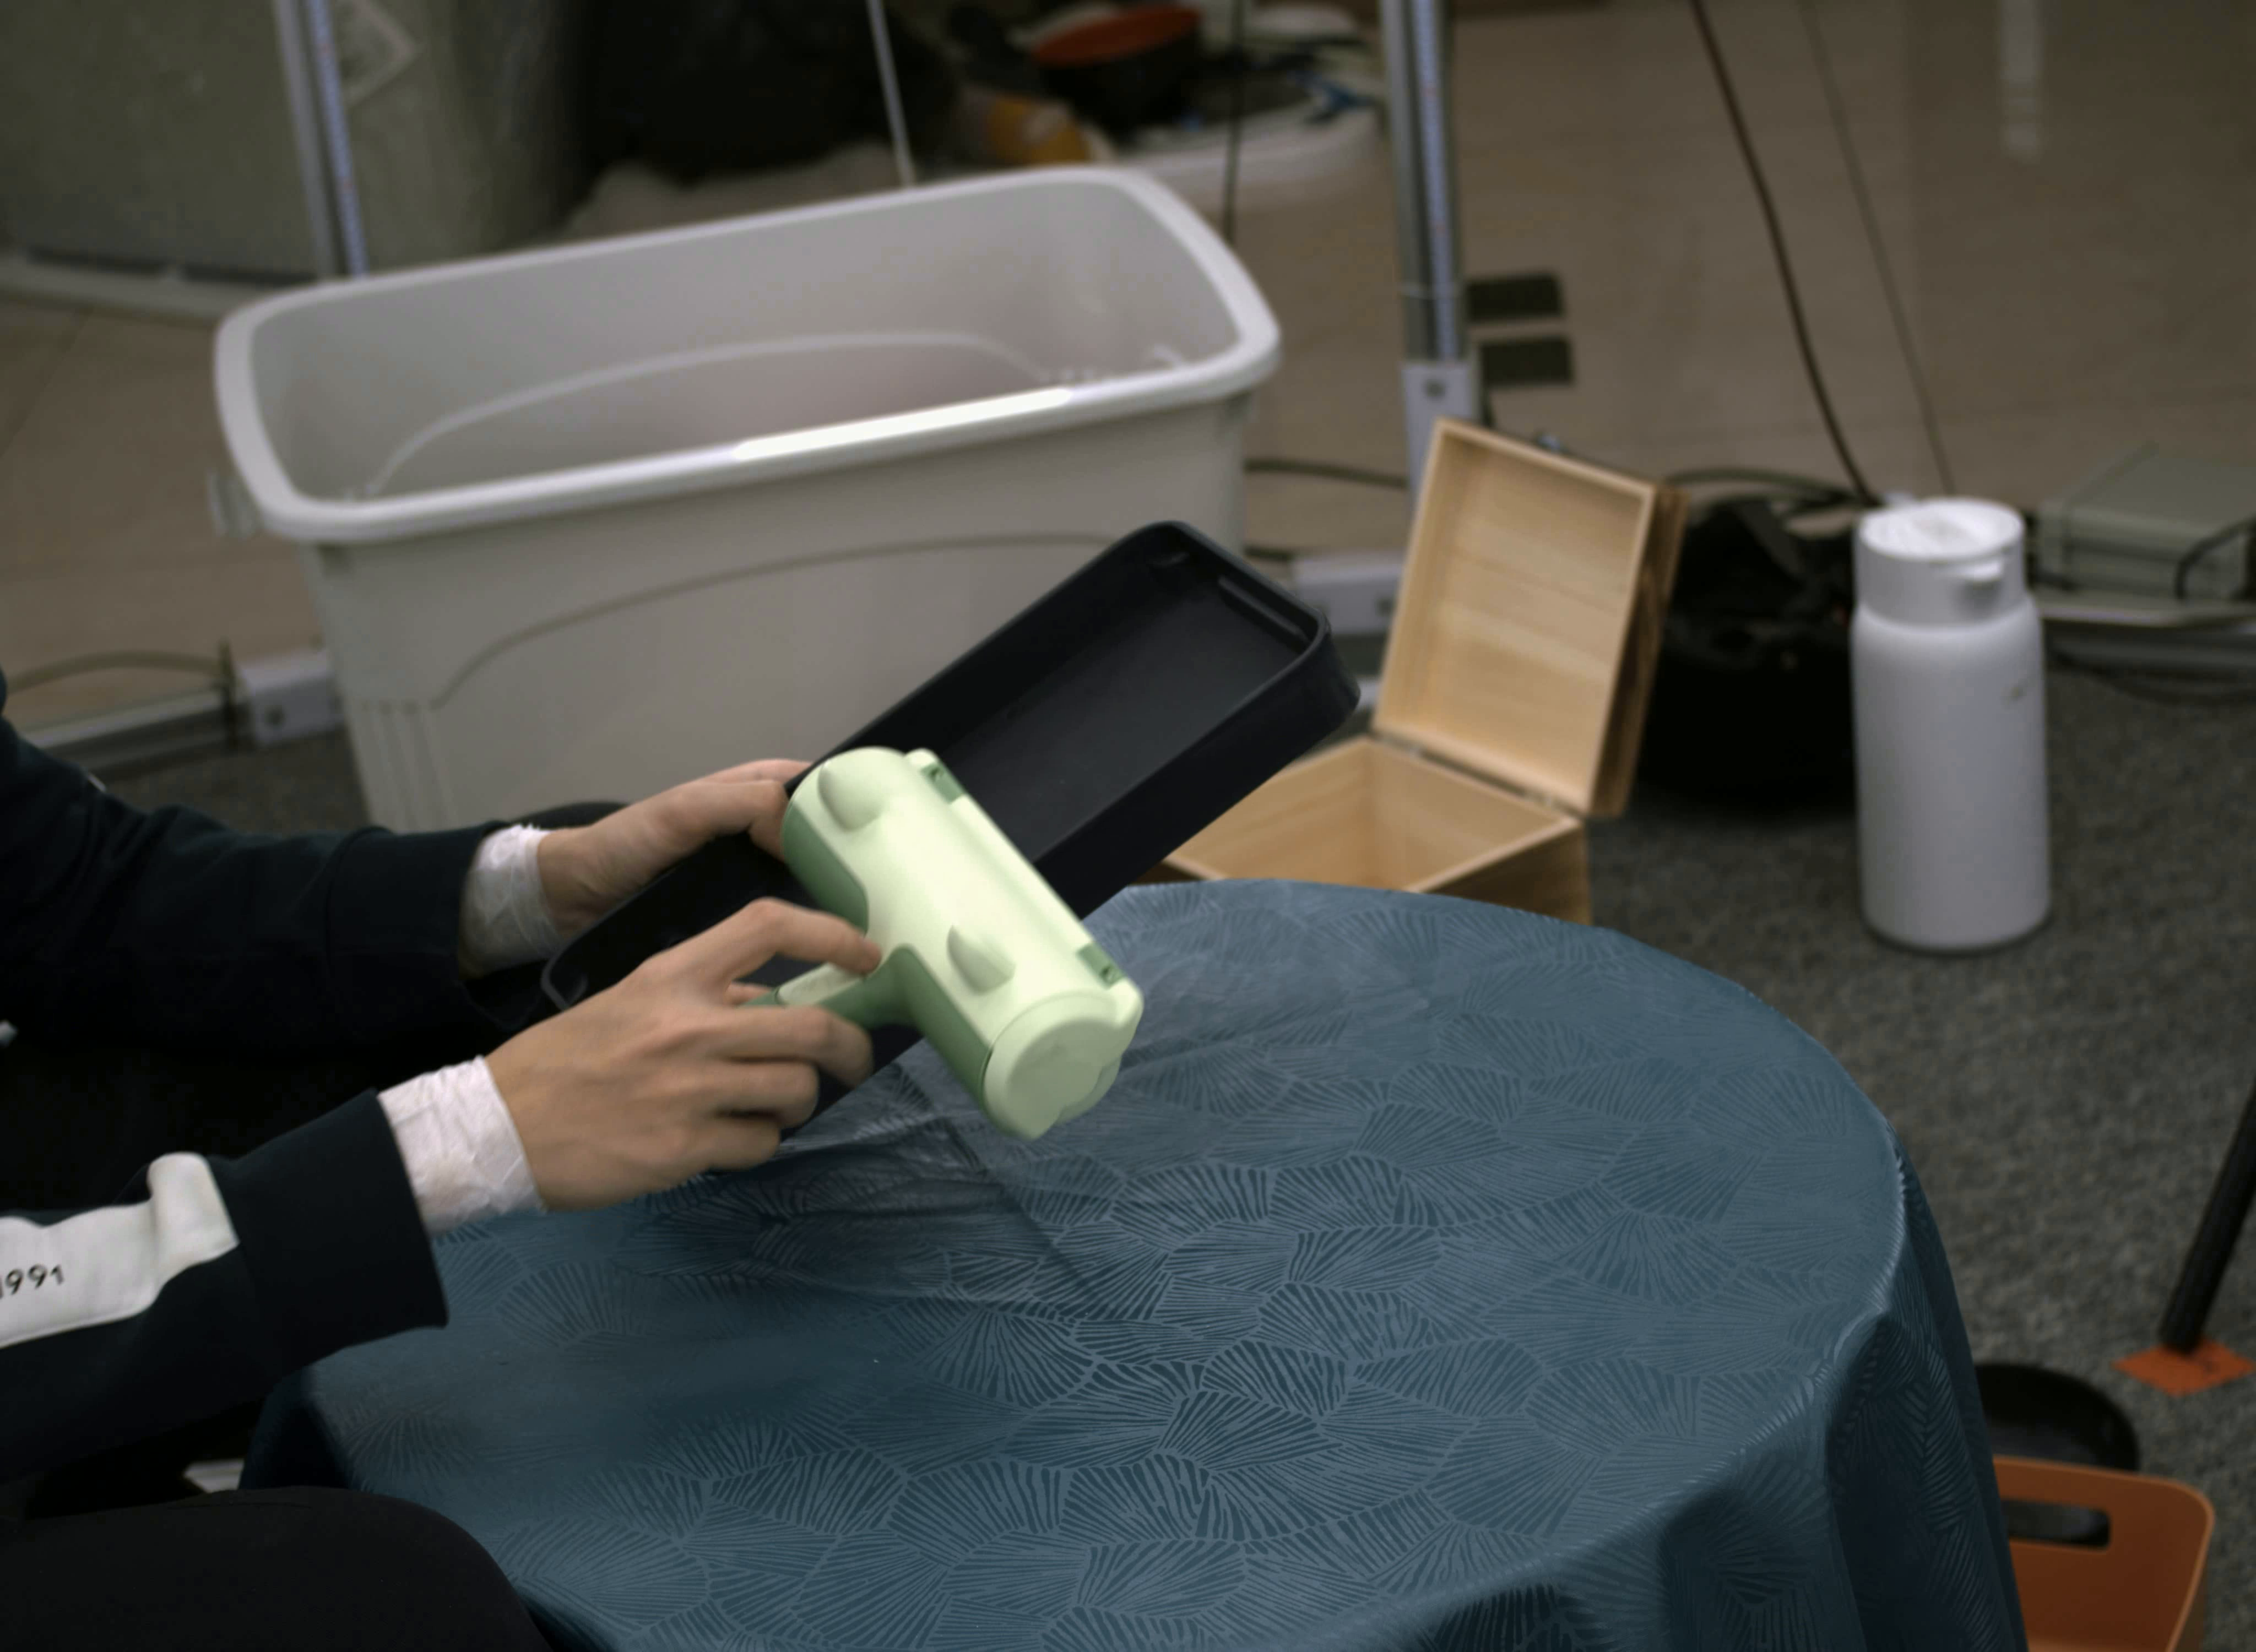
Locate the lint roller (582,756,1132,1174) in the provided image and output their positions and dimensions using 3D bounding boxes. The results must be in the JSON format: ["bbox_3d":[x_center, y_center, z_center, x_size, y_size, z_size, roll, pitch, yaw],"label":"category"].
[{"bbox_3d":[-0.118,0.059,2.019,0.182,0.084,0.195,-24,40,-14],"label":"lint roller"}]

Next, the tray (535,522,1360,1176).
[{"bbox_3d":[-0.071,0.005,2.182,0.317,0.037,0.182,-36,28,-7],"label":"tray"}]
